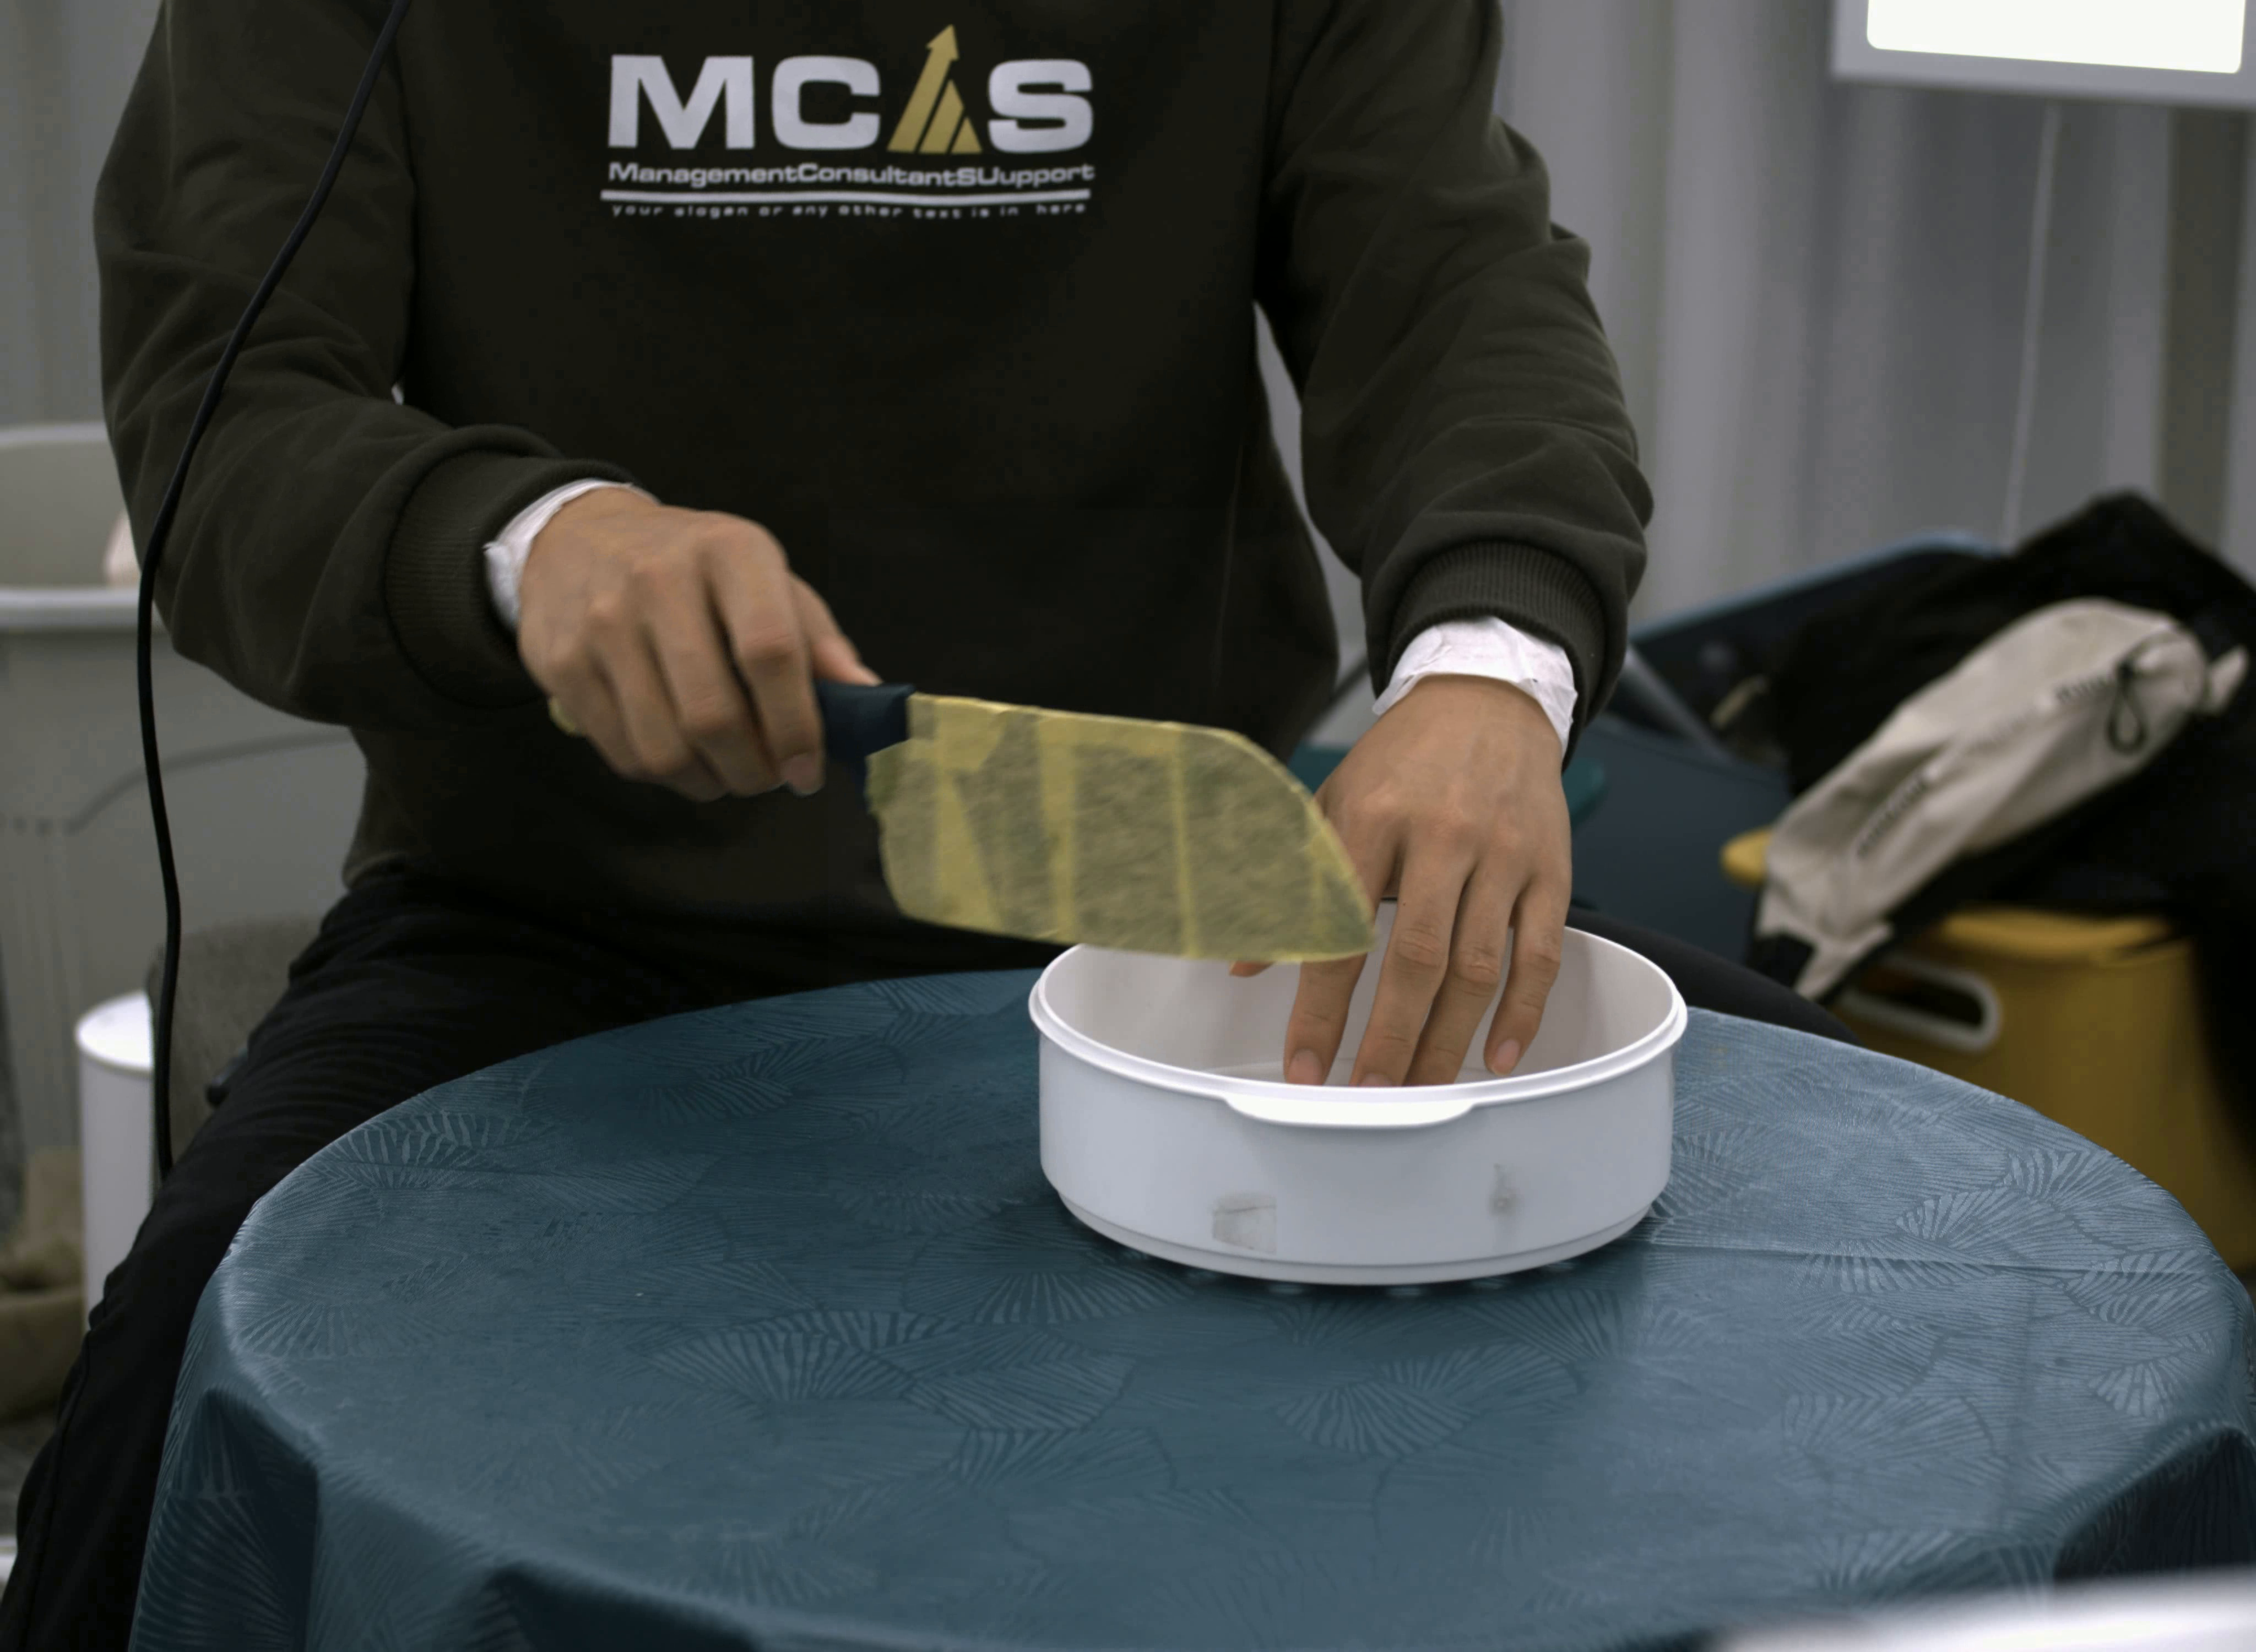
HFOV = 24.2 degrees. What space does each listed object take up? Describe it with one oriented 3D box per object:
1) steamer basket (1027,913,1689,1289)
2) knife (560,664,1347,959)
[{"bbox_3d":[0.069,0.083,1.607,0.201,0.070,0.230,2,14,4],"label":"steamer basket"},{"bbox_3d":[-0.056,-0.006,1.568,0.286,0.082,0.027,11,21,33],"label":"knife"}]
